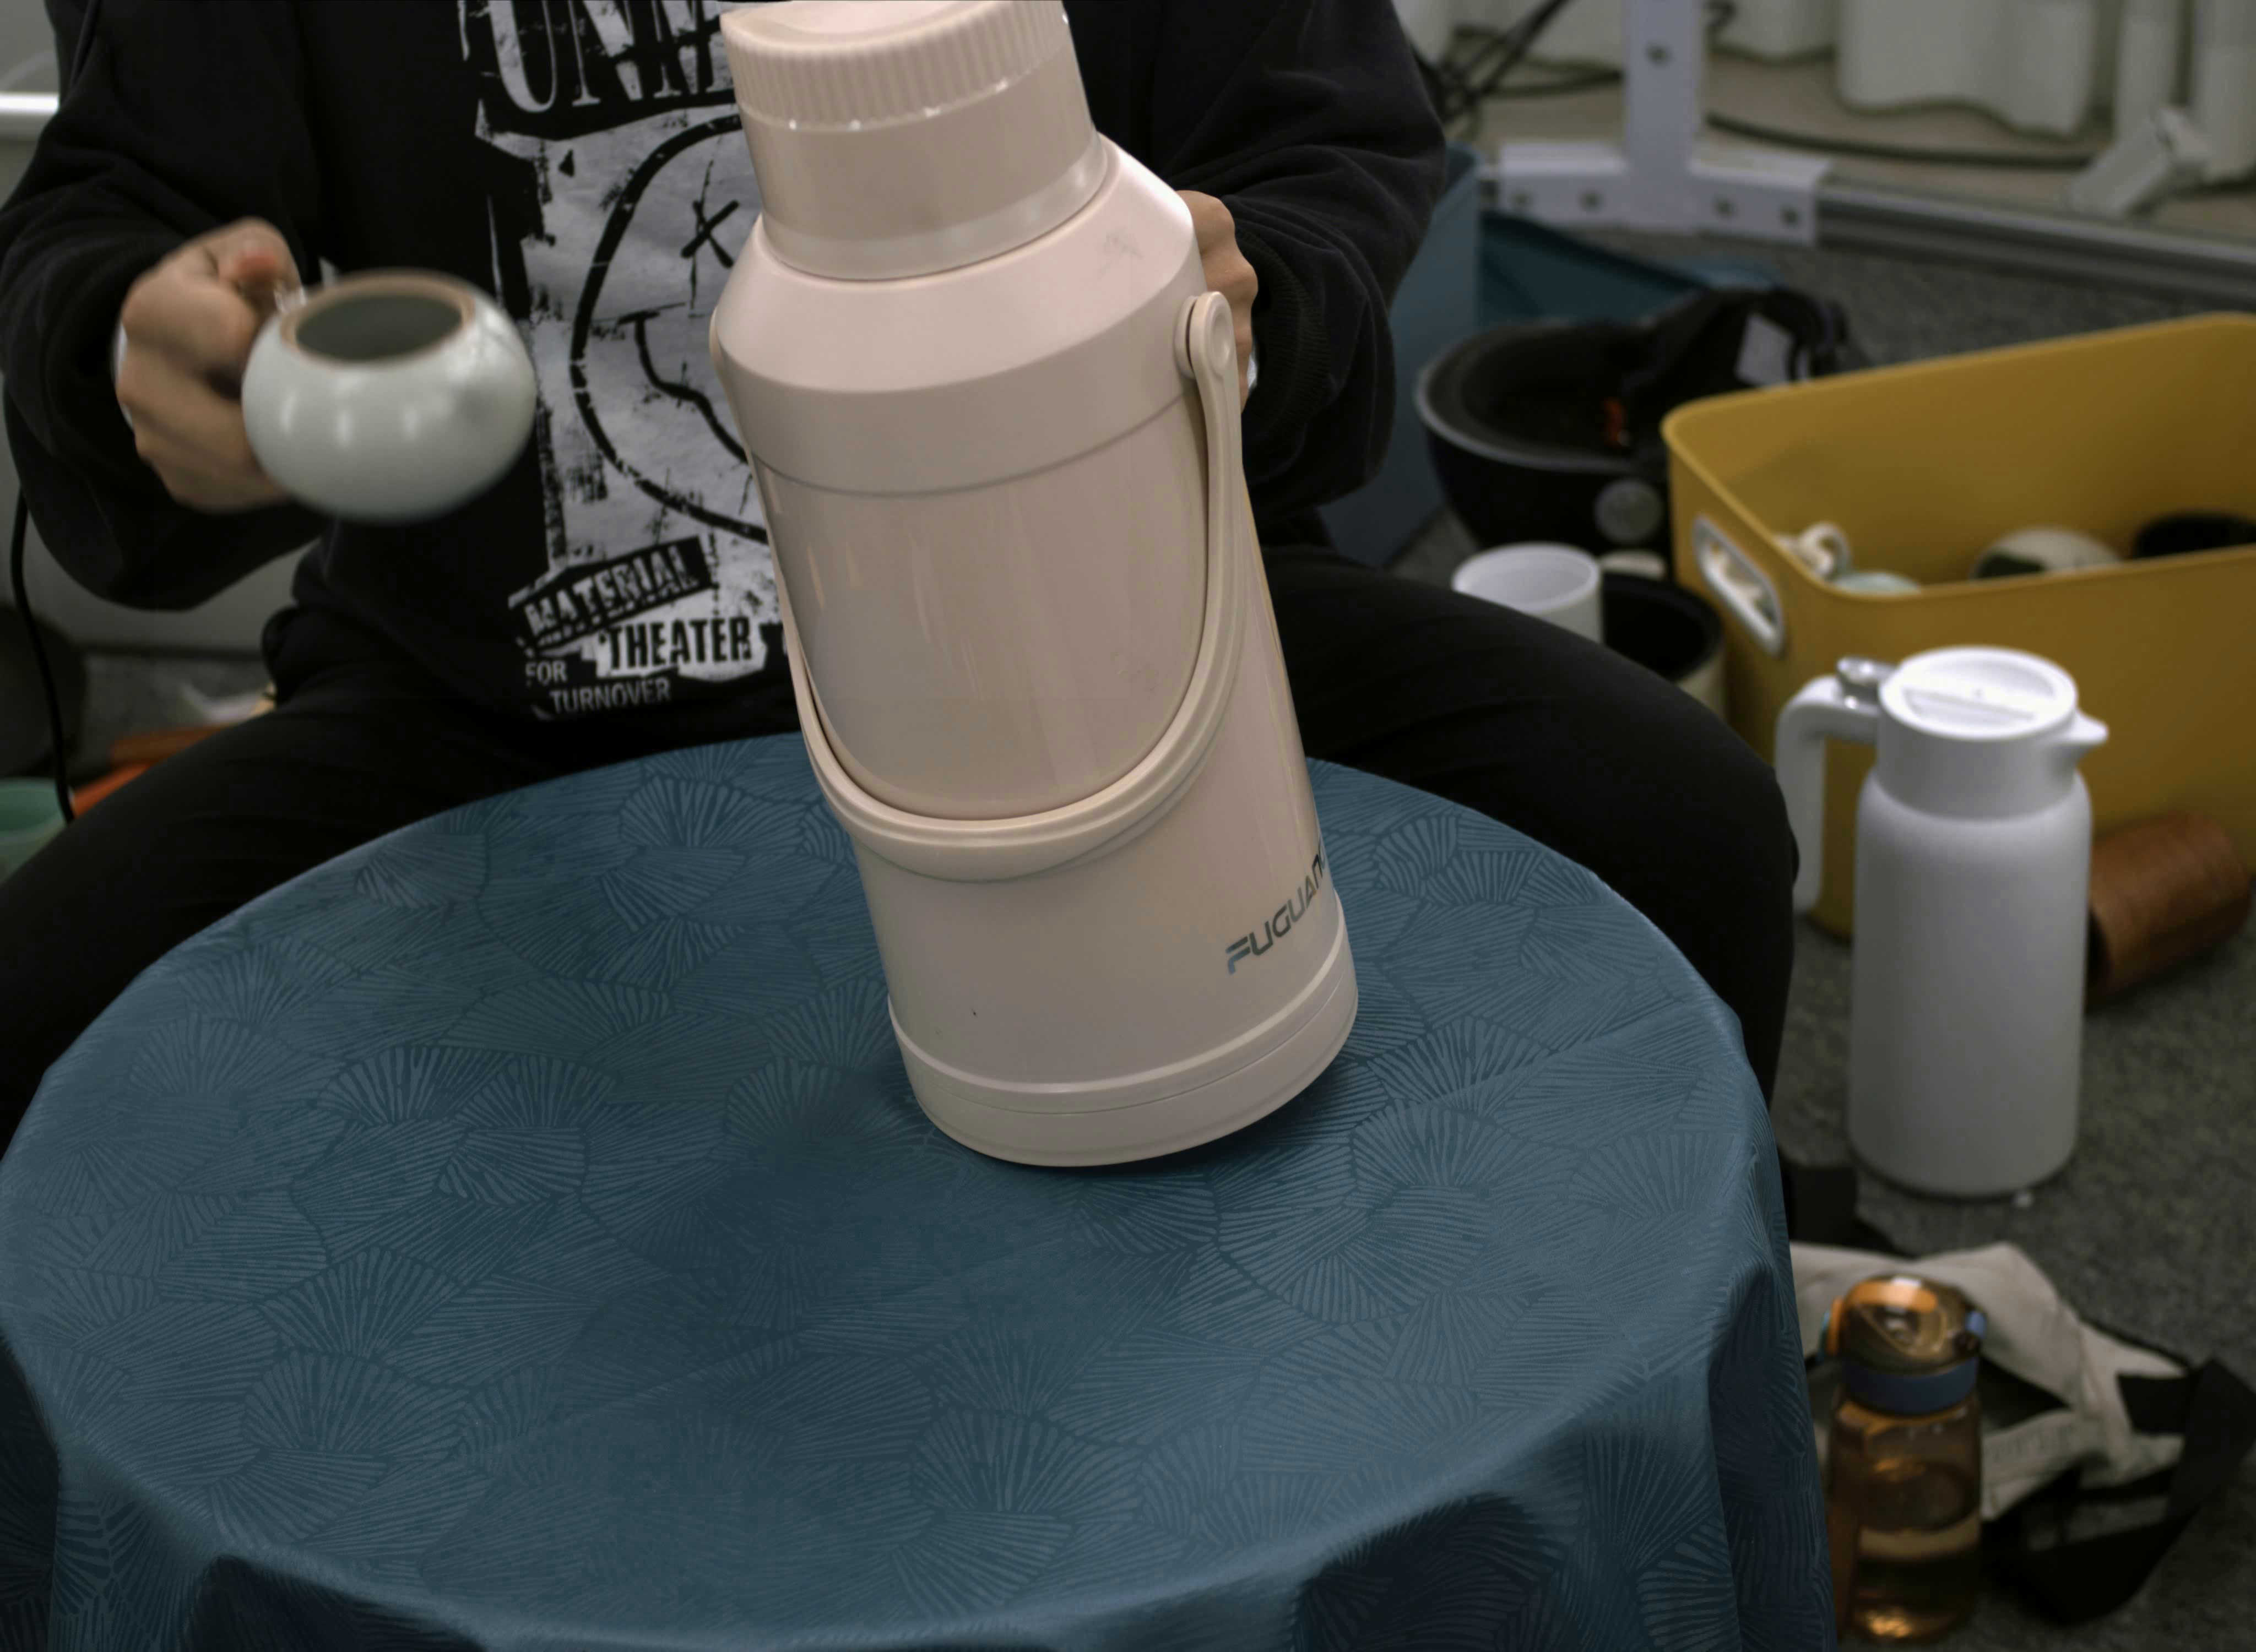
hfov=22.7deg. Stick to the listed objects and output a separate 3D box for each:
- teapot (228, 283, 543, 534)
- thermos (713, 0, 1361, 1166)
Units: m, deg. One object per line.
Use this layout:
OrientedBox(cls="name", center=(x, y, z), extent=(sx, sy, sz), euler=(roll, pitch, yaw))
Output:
OrientedBox(cls="teapot", center=(-0.237, -0.133, 1.772), extent=(0.128, 0.059, 0.093), euler=(21, 43, 32))
OrientedBox(cls="thermos", center=(-0.029, -0.103, 1.848), extent=(0.174, 0.402, 0.211), euler=(-1, 32, 23))
